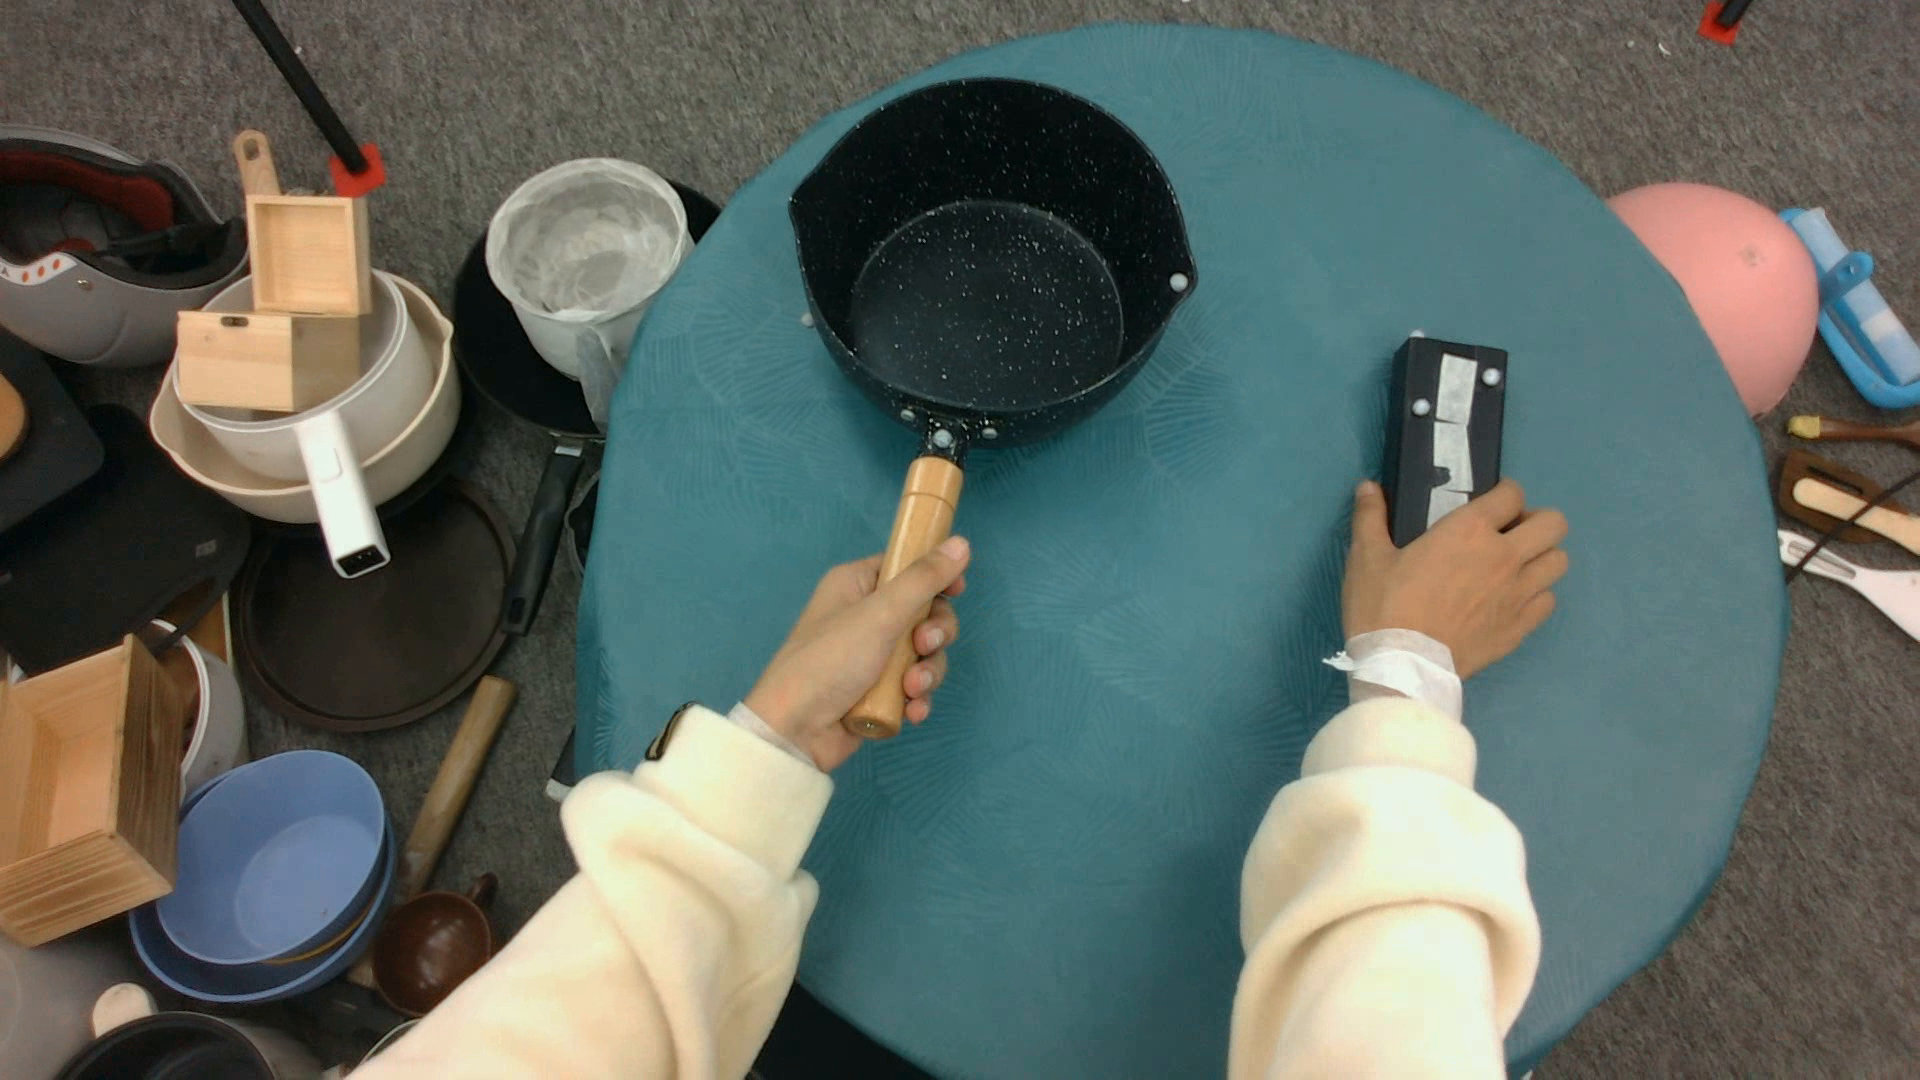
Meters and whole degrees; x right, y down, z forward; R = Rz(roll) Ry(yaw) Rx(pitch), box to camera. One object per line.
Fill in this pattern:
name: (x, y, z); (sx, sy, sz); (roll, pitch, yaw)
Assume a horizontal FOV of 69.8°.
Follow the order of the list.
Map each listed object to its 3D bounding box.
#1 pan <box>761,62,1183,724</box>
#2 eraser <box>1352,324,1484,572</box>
pan: (-0.010, -0.068, 0.655); (0.207, 0.108, 0.344); (11, 69, 1)
eraser: (0.232, -0.048, 0.698); (0.053, 0.030, 0.126); (10, 71, 4)
